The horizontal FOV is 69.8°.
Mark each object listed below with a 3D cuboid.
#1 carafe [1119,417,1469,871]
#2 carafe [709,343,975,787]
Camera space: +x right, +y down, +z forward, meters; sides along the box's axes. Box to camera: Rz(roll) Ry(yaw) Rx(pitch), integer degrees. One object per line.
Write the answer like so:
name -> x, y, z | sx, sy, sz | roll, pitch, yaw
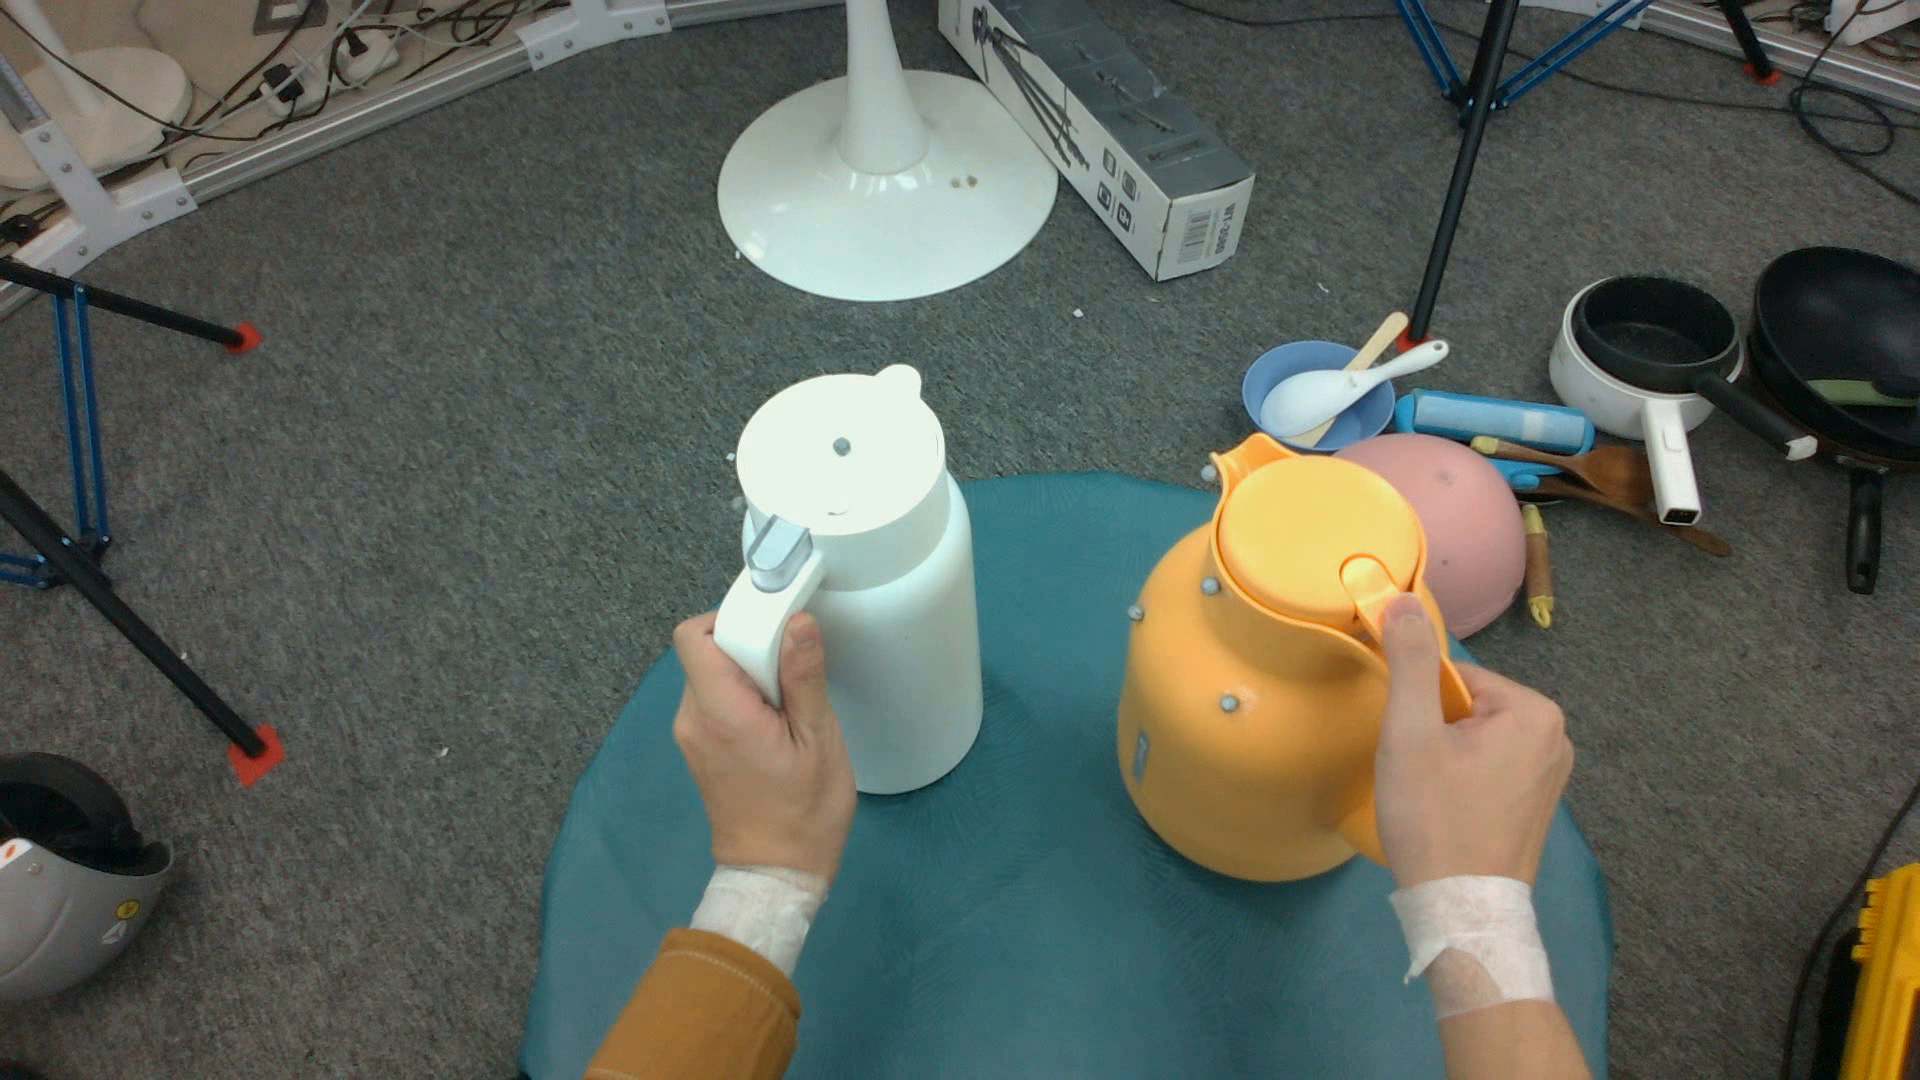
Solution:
carafe -> 0.174, 0.073, 0.715 | 0.164, 0.259, 0.203 | -23, 55, -10
carafe -> -0.060, 0.041, 0.744 | 0.124, 0.267, 0.173 | 21, 58, 14
